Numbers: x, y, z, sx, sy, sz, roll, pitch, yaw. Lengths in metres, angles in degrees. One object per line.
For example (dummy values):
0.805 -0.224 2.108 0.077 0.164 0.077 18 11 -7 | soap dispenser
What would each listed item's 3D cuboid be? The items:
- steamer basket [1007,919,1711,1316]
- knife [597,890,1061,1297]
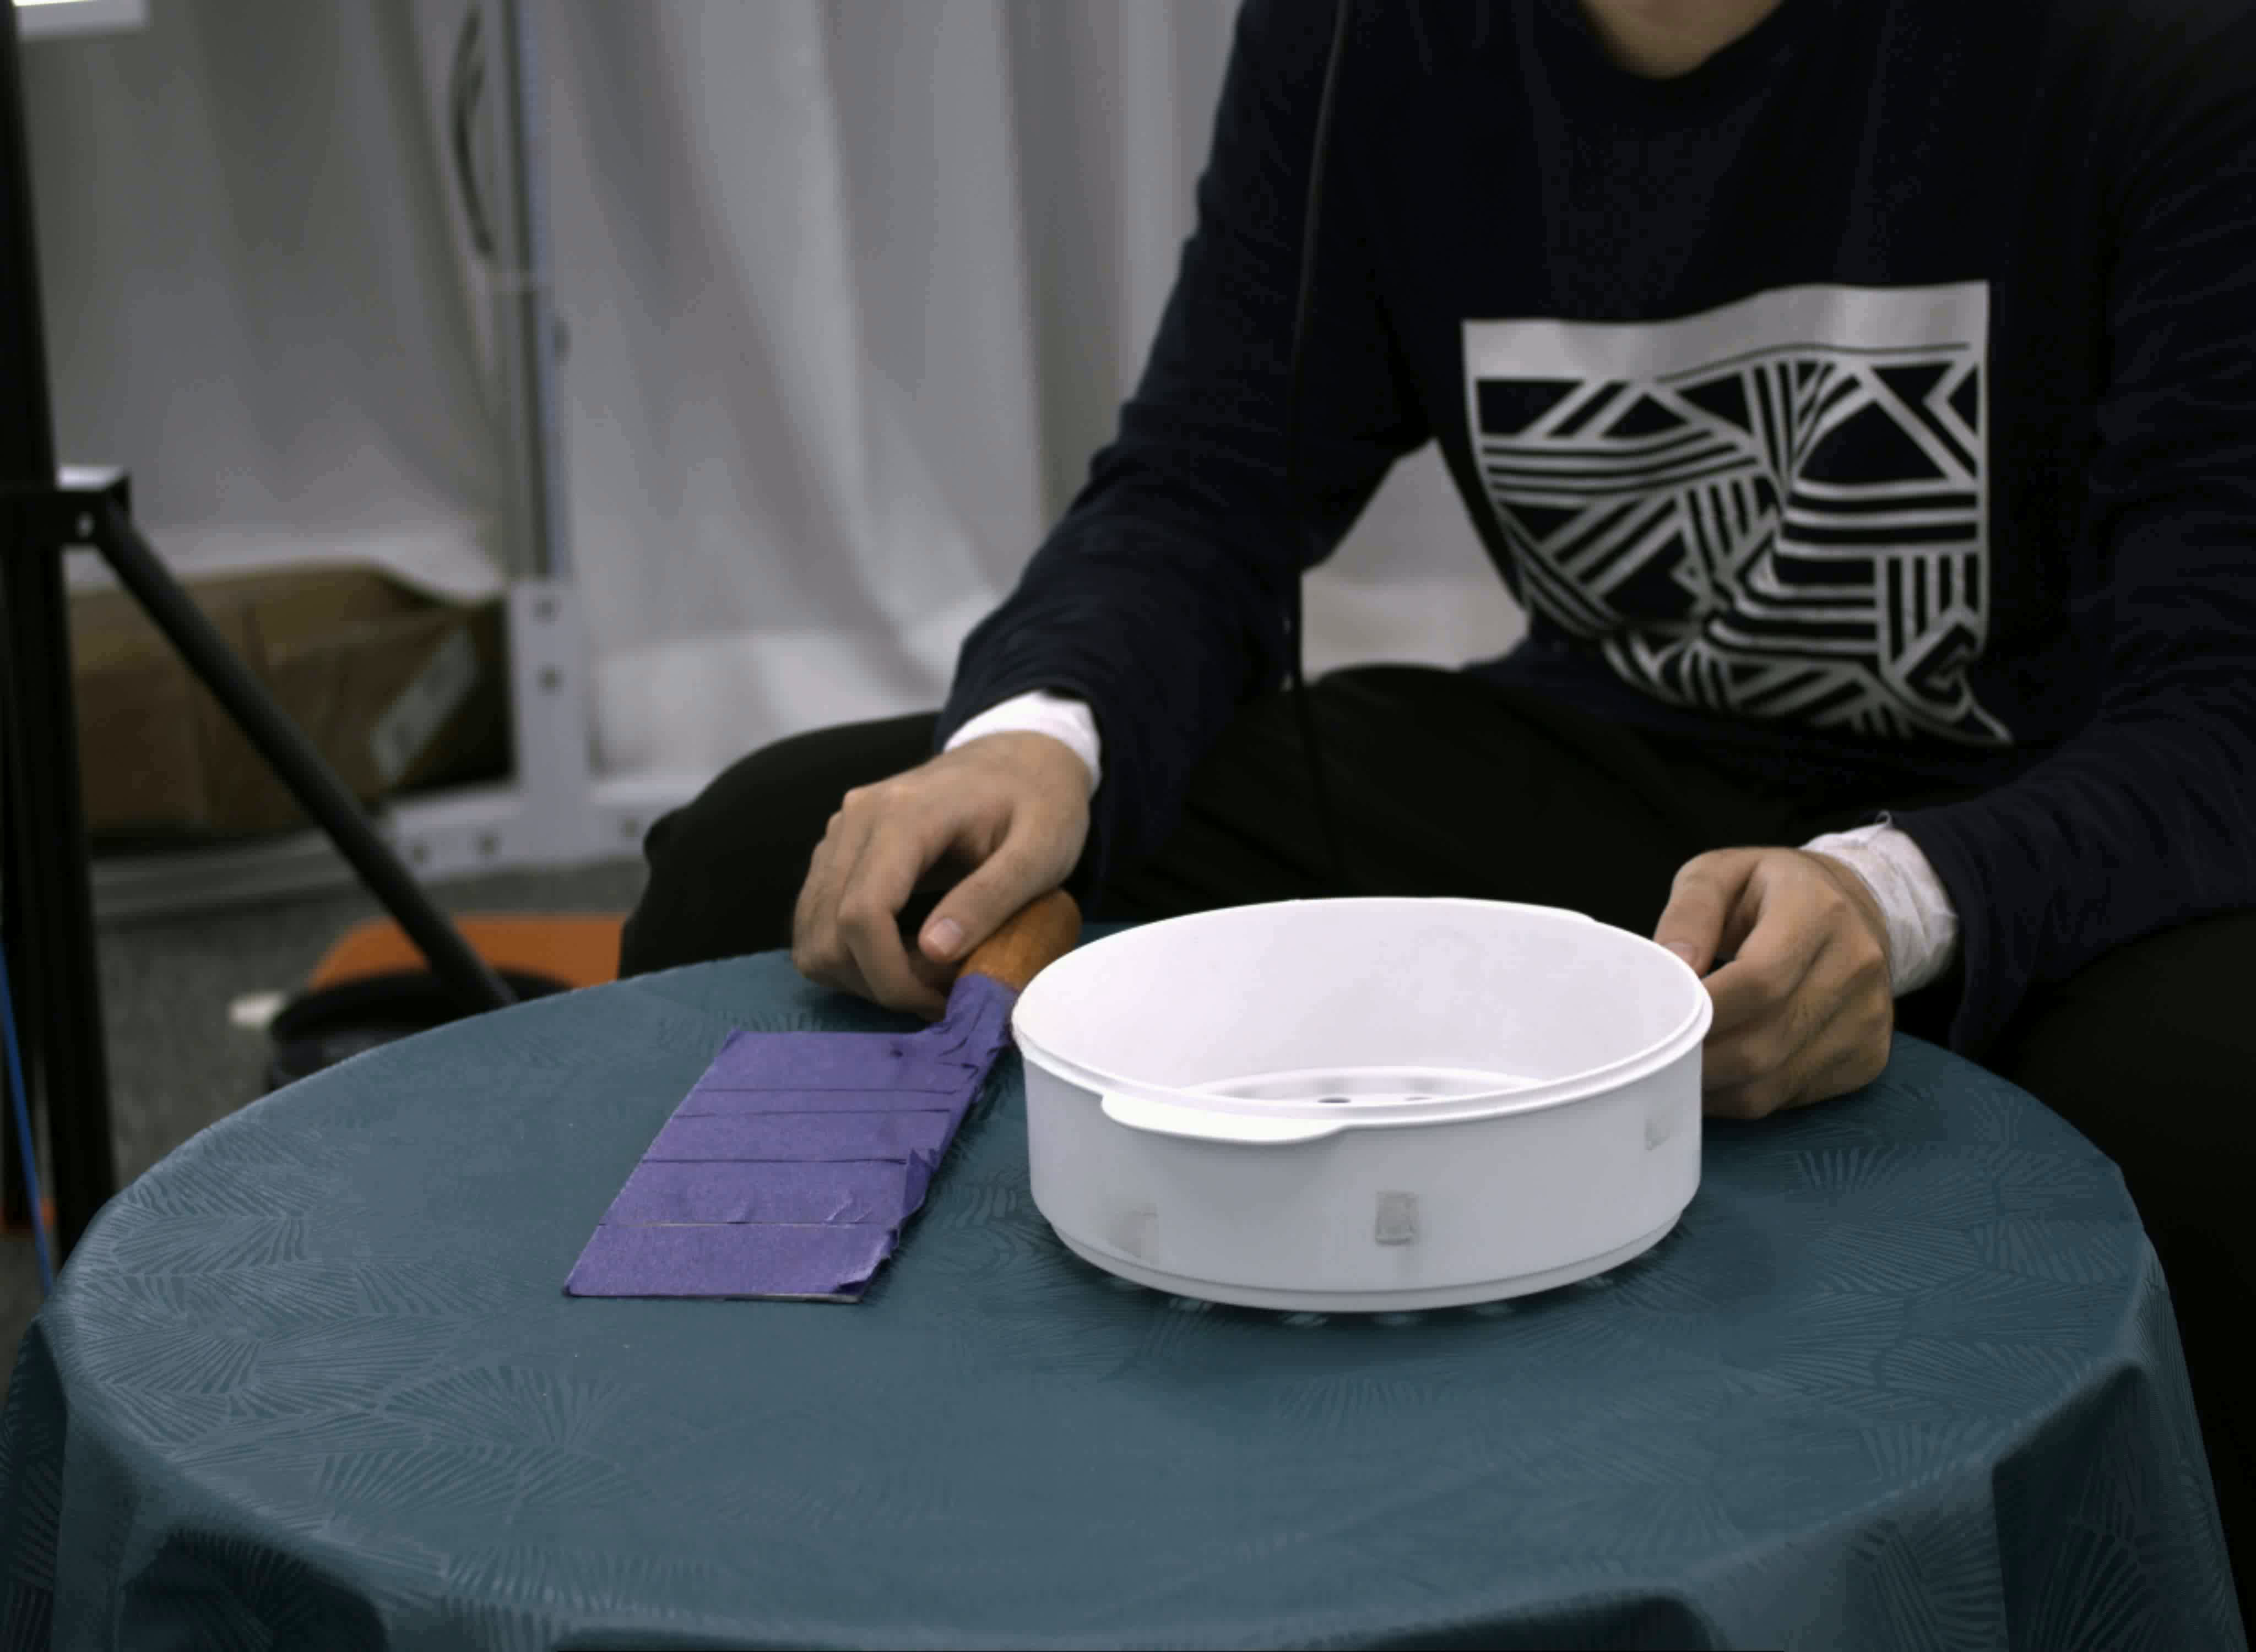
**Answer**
0.065 0.083 1.521 0.205 0.069 0.226 7 15 26 | steamer basket
-0.089 0.079 1.631 0.104 0.032 0.314 1 17 10 | knife
